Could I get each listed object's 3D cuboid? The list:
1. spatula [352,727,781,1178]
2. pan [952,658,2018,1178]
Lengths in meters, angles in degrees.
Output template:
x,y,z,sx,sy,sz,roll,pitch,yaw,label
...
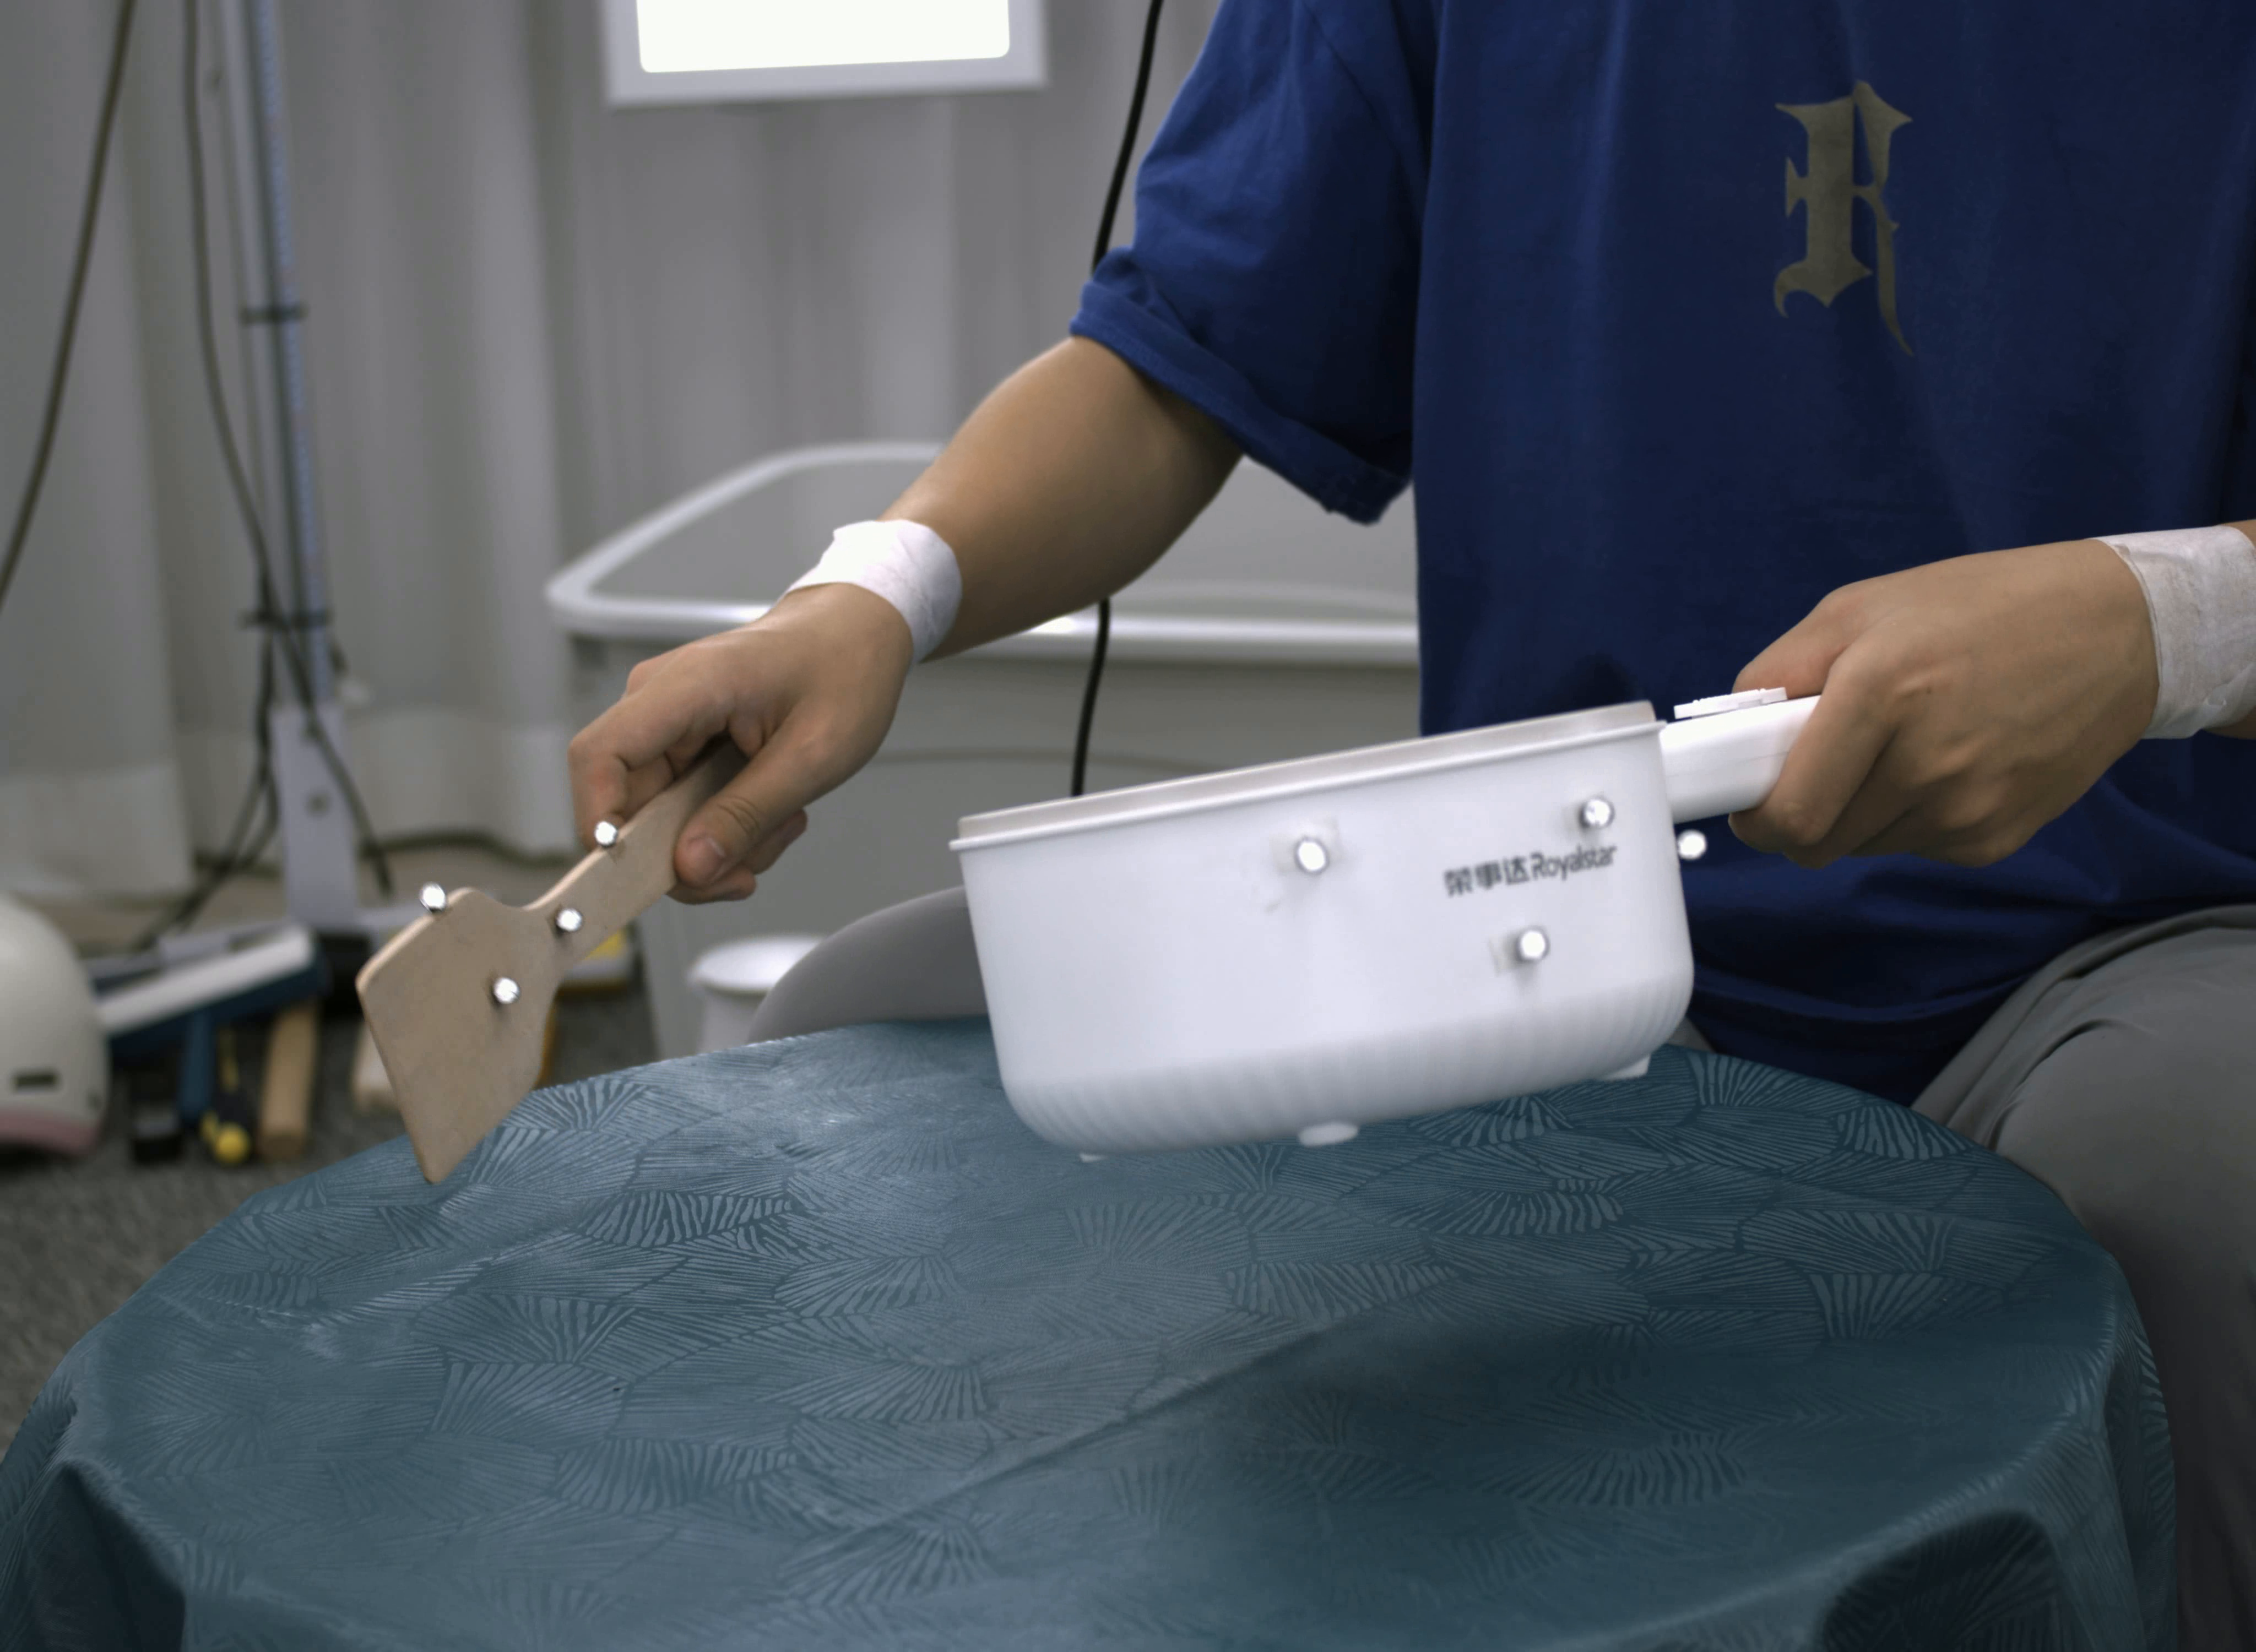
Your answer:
x,y,z,sx,sy,sz,roll,pitch,yaw,label
-0.177,0.026,1.787,0.010,0.072,0.294,-12,16,25,spatula
0.119,0.023,1.552,0.353,0.102,0.201,-10,-2,-36,pan
